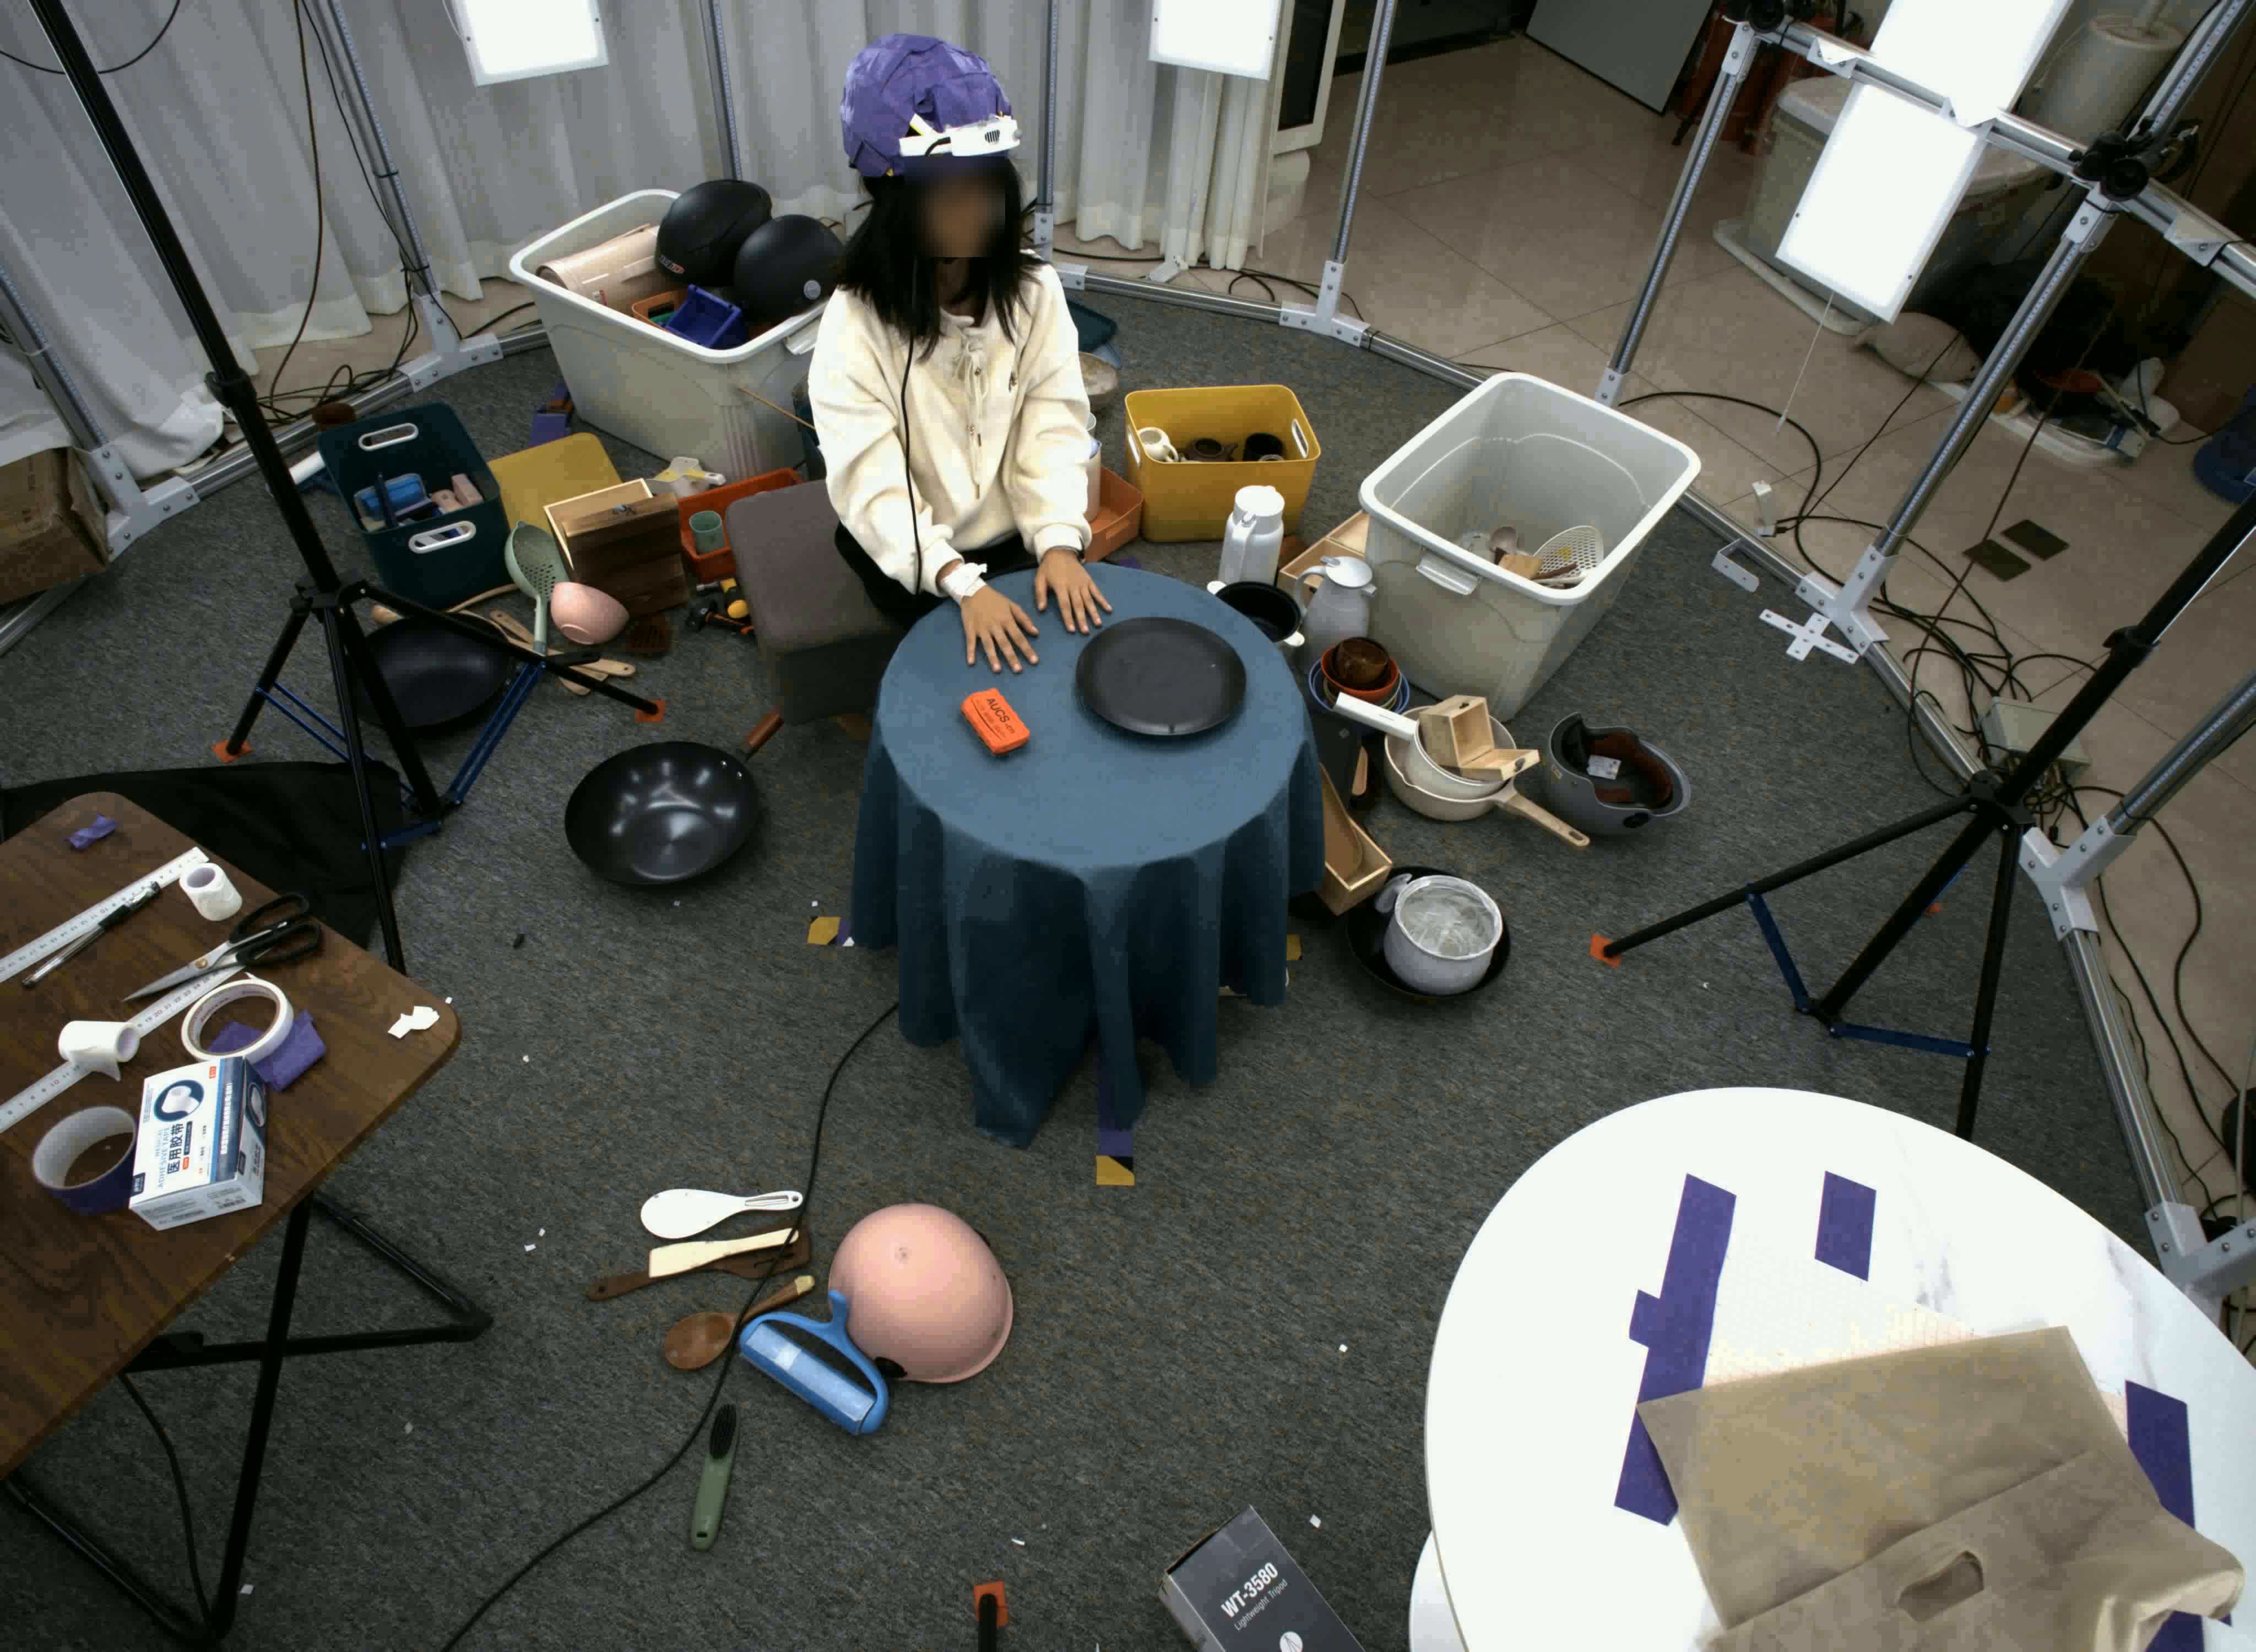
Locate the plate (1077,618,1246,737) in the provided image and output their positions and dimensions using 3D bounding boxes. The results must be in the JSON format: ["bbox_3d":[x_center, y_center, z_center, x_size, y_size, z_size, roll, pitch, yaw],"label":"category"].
[{"bbox_3d":[0.048,-0.211,1.842,0.244,0.023,0.250,2,49,-2],"label":"plate"}]

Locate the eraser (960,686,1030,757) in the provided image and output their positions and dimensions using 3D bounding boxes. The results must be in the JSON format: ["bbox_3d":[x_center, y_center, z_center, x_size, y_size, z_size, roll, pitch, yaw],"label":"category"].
[{"bbox_3d":[-0.183,-0.144,1.764,0.059,0.022,0.110,-24,57,-21],"label":"eraser"}]
